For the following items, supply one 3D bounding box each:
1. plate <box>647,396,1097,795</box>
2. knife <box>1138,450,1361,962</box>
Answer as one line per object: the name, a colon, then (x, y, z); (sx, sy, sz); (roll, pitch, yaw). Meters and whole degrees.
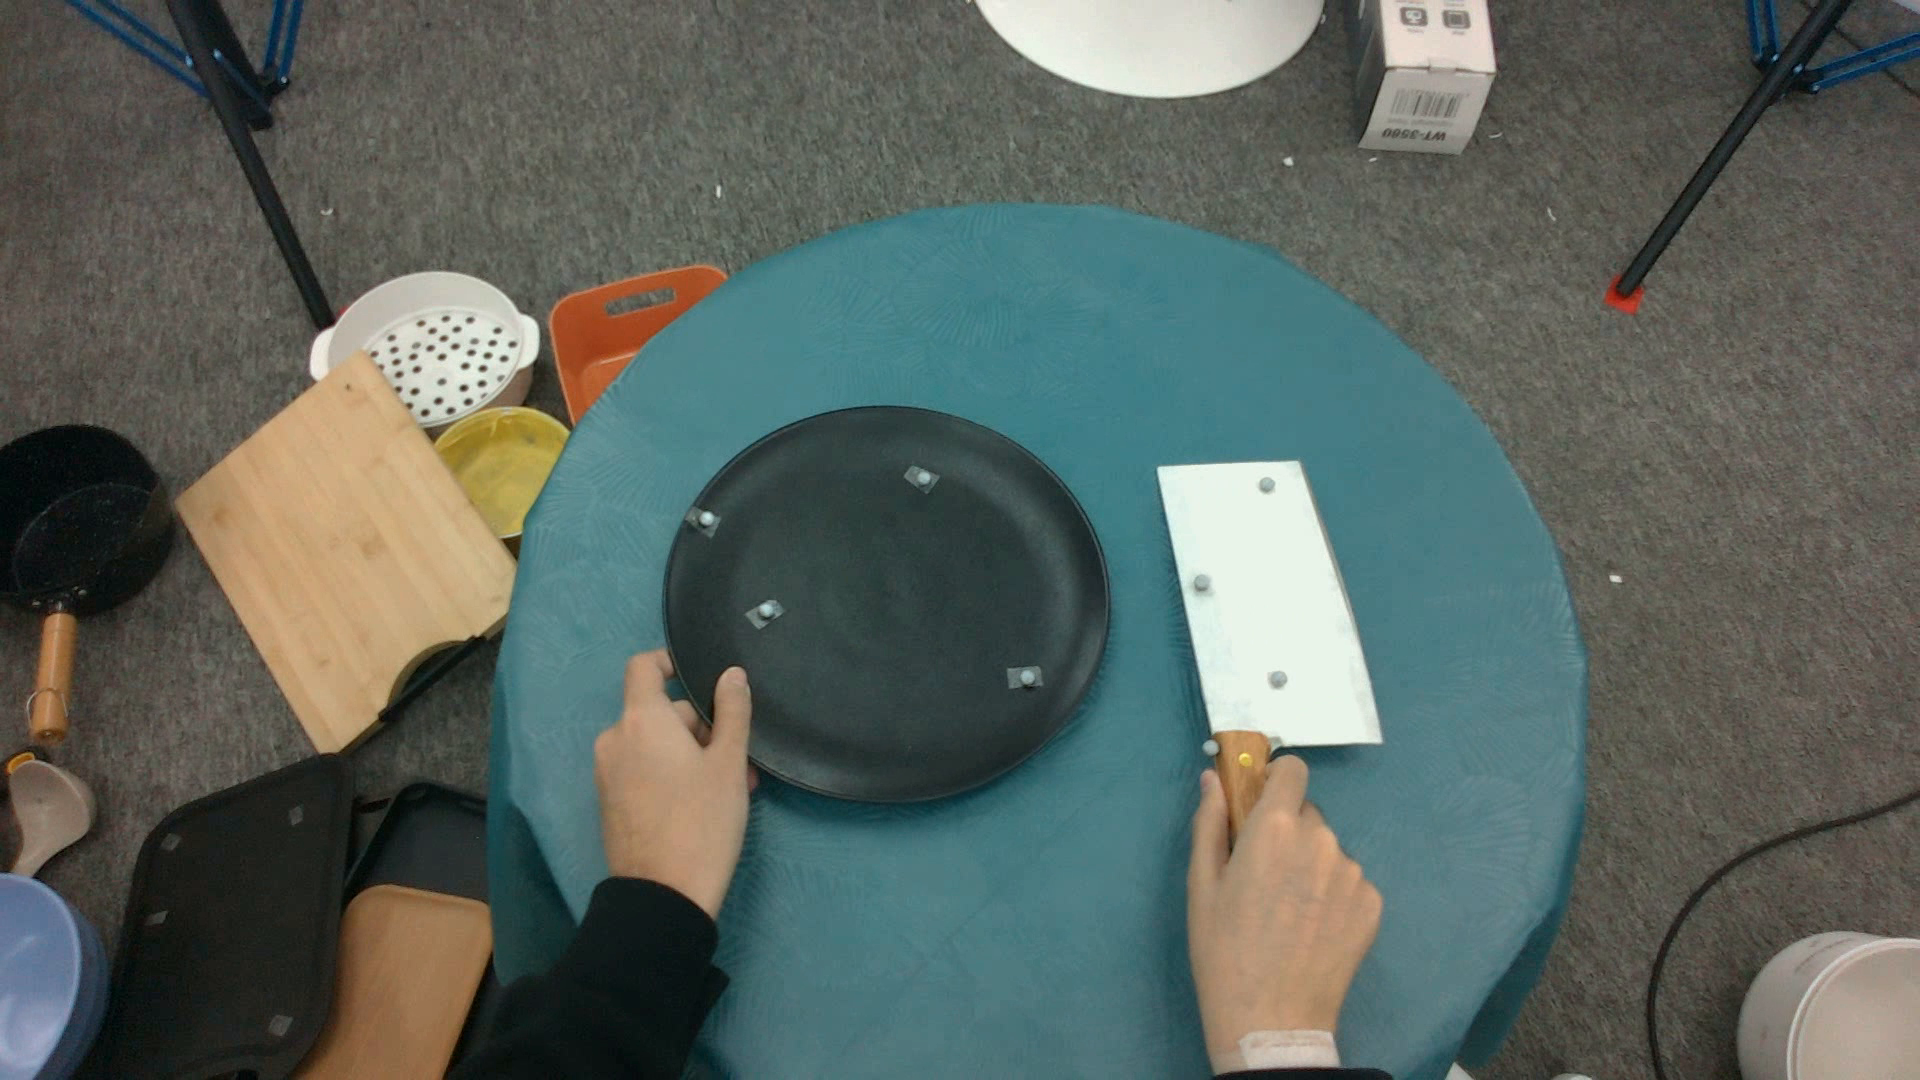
plate: (-0.046, 0.025, 0.753); (0.244, 0.023, 0.245); (2, 59, -4)
knife: (0.162, 0.071, 0.738); (0.093, 0.021, 0.307); (-2, 54, -6)
